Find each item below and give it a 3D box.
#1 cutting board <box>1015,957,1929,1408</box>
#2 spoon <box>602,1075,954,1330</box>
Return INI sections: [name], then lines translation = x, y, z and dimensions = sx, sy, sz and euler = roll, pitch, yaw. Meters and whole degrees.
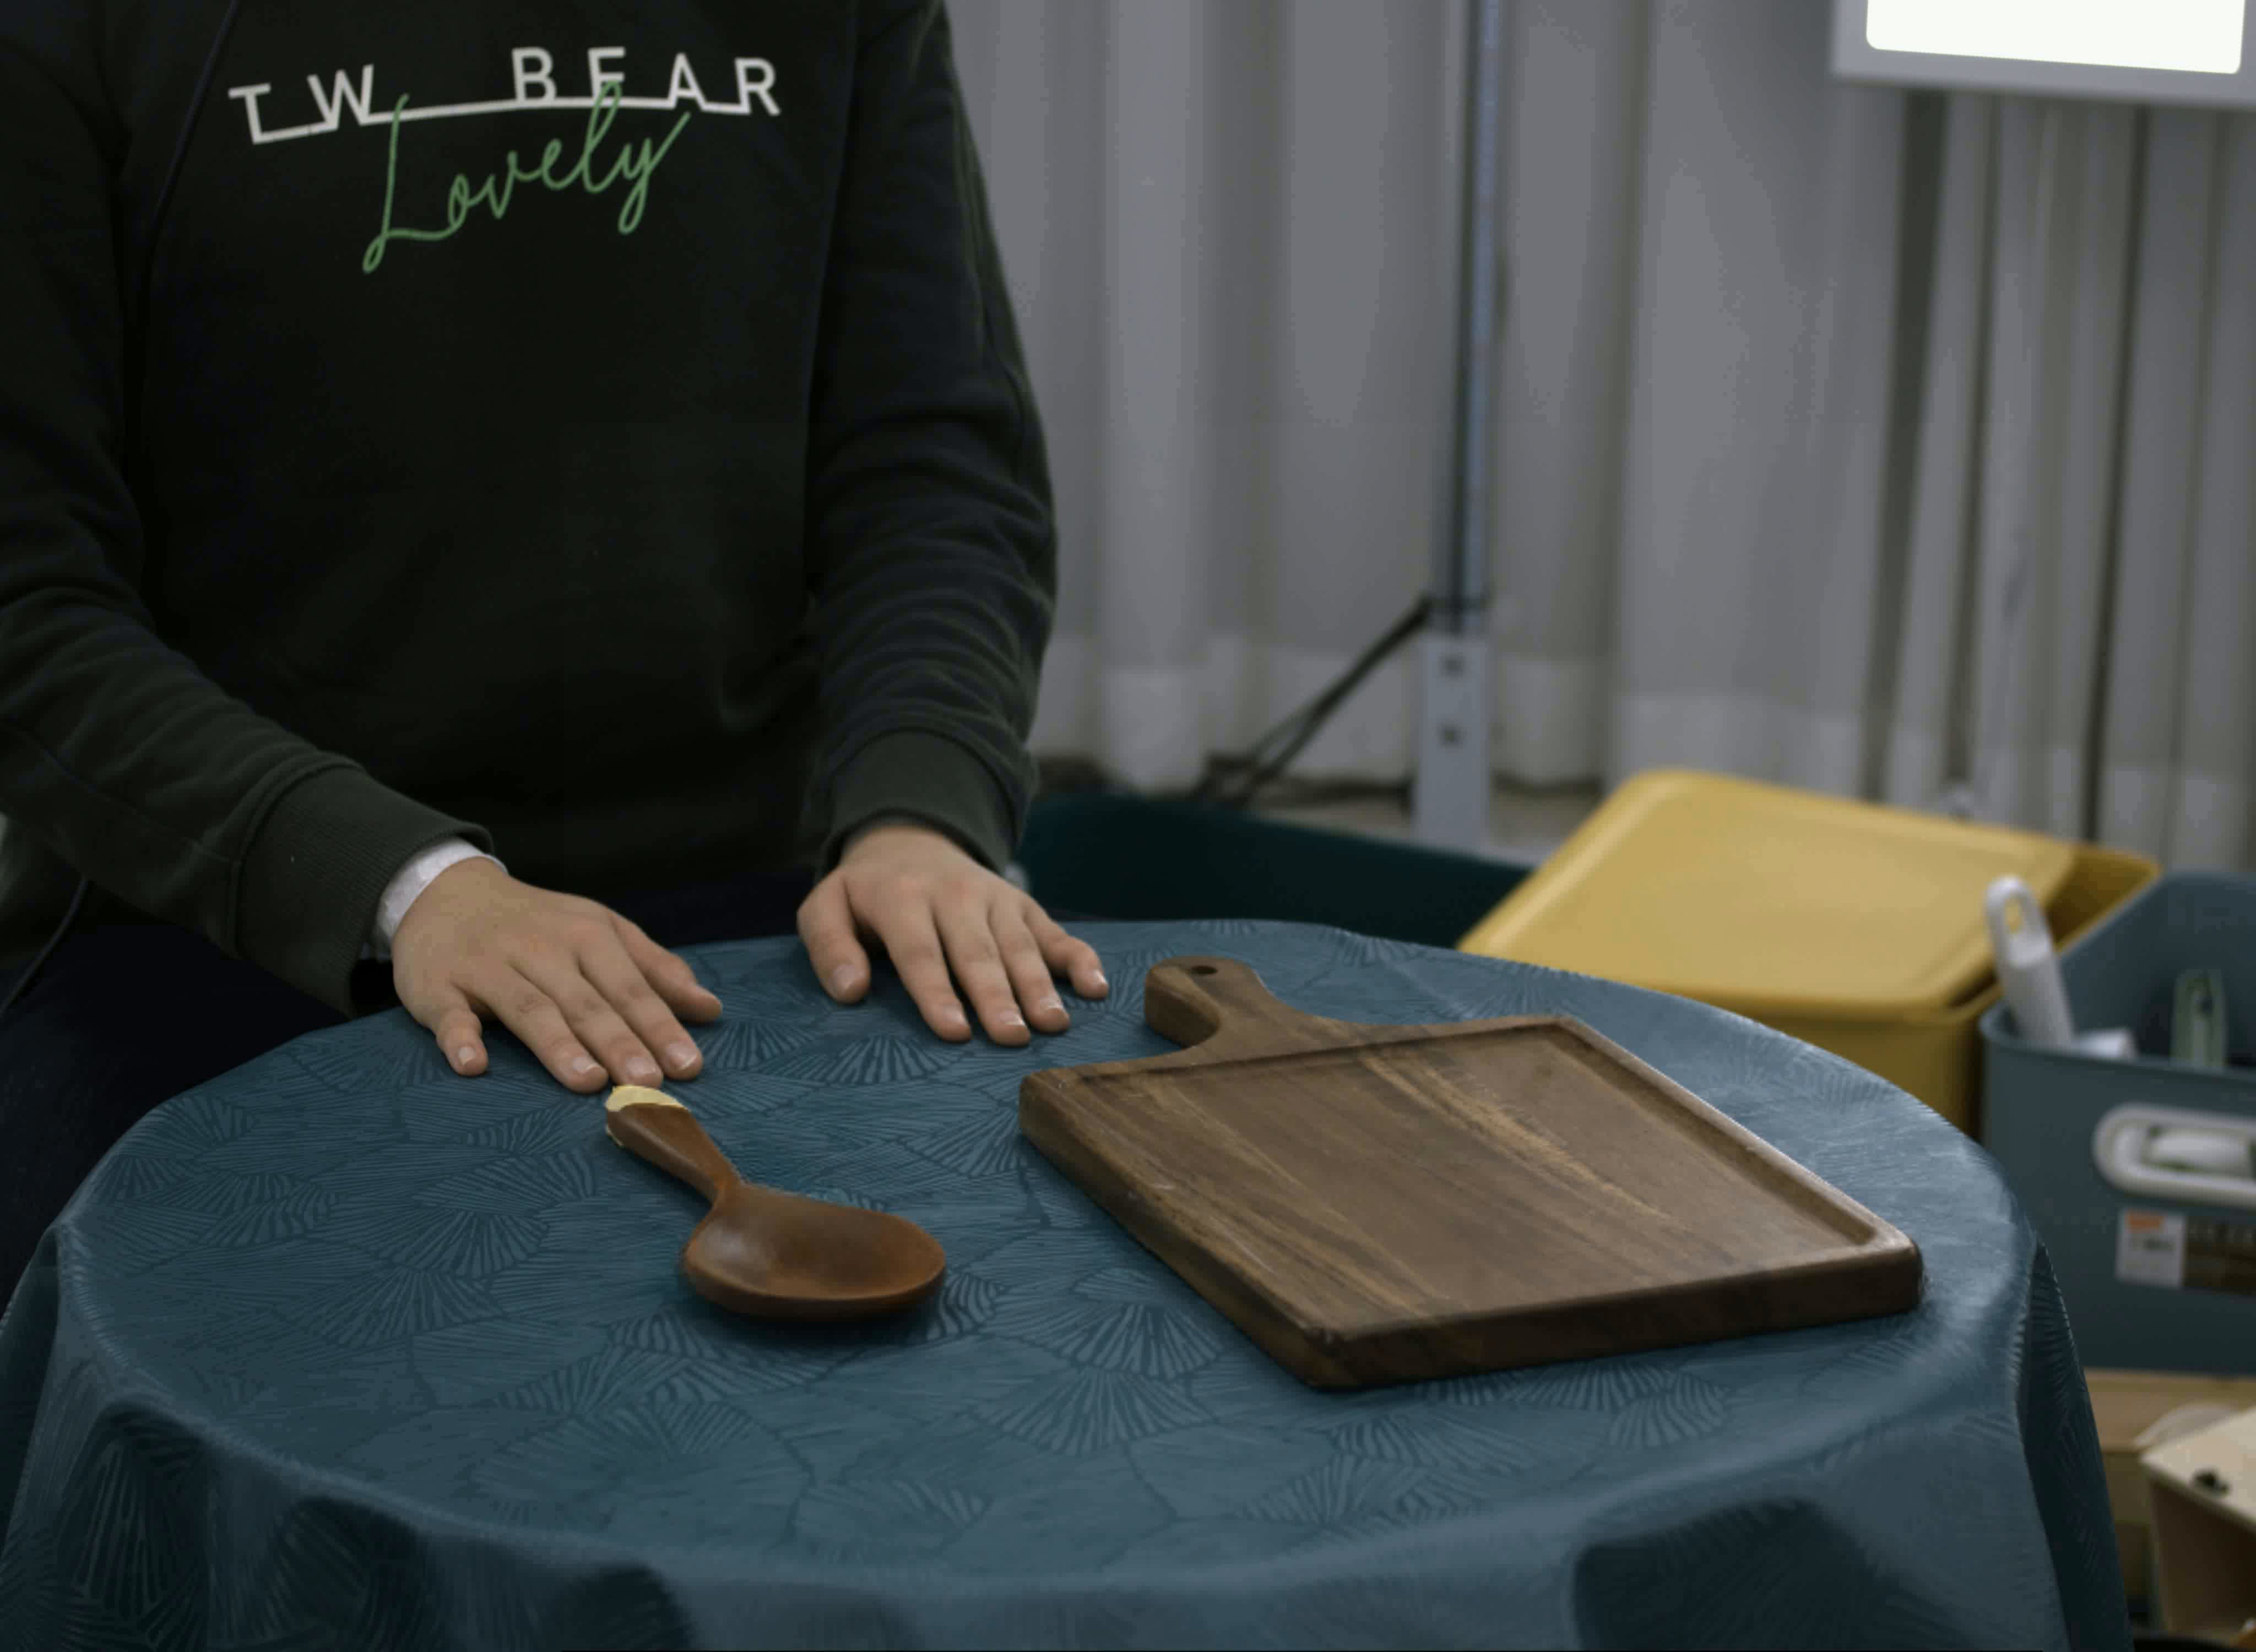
[cutting board]
translation = 0.081, 0.099, 1.647
dimensions = 0.201, 0.023, 0.348
euler = -7, 17, -21
[spoon]
translation = -0.115, 0.114, 1.585
dimensions = 0.076, 0.017, 0.213
euler = -8, 19, -23
